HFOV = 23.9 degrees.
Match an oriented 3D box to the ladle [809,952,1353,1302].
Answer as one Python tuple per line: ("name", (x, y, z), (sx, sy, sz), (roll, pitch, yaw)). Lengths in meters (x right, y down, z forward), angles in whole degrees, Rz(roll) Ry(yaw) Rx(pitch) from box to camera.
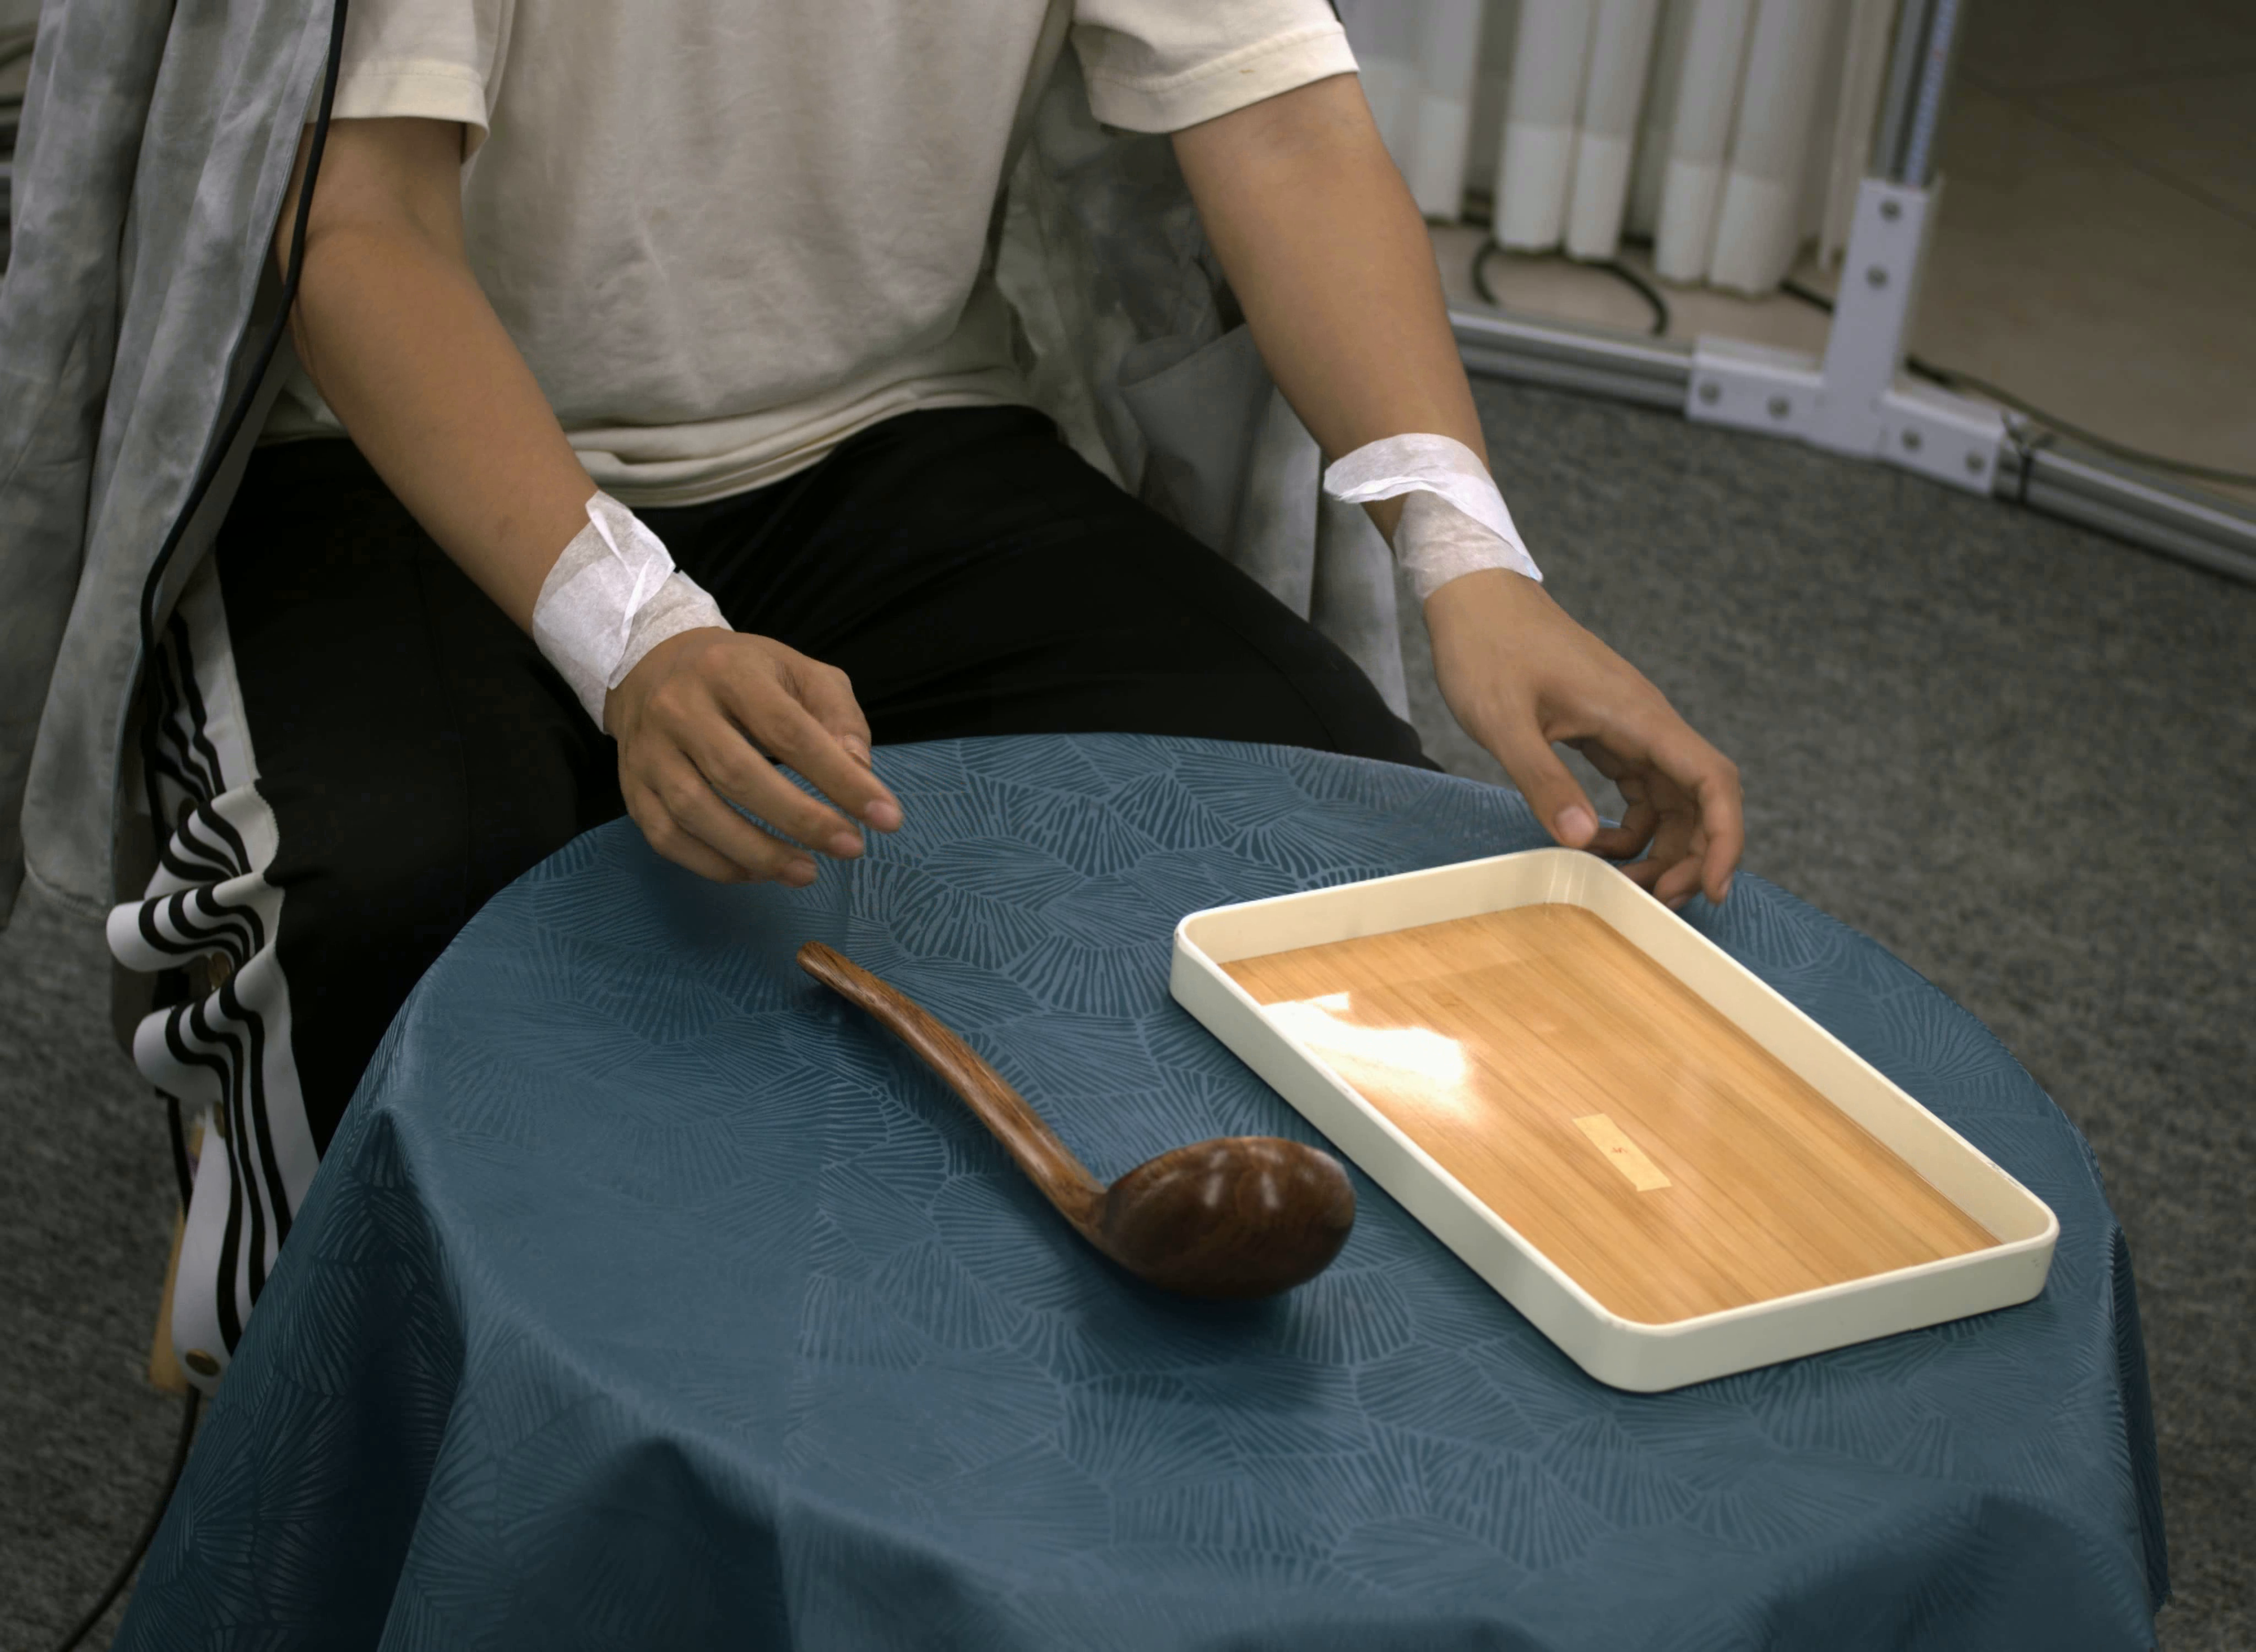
("ladle", (-0.022, 0.082, 1.804), (0.081, 0.076, 0.276), (36, 3, -41))

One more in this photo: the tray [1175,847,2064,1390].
("tray", (0.166, 0.096, 1.865), (0.190, 0.027, 0.303), (-10, 31, -29))
